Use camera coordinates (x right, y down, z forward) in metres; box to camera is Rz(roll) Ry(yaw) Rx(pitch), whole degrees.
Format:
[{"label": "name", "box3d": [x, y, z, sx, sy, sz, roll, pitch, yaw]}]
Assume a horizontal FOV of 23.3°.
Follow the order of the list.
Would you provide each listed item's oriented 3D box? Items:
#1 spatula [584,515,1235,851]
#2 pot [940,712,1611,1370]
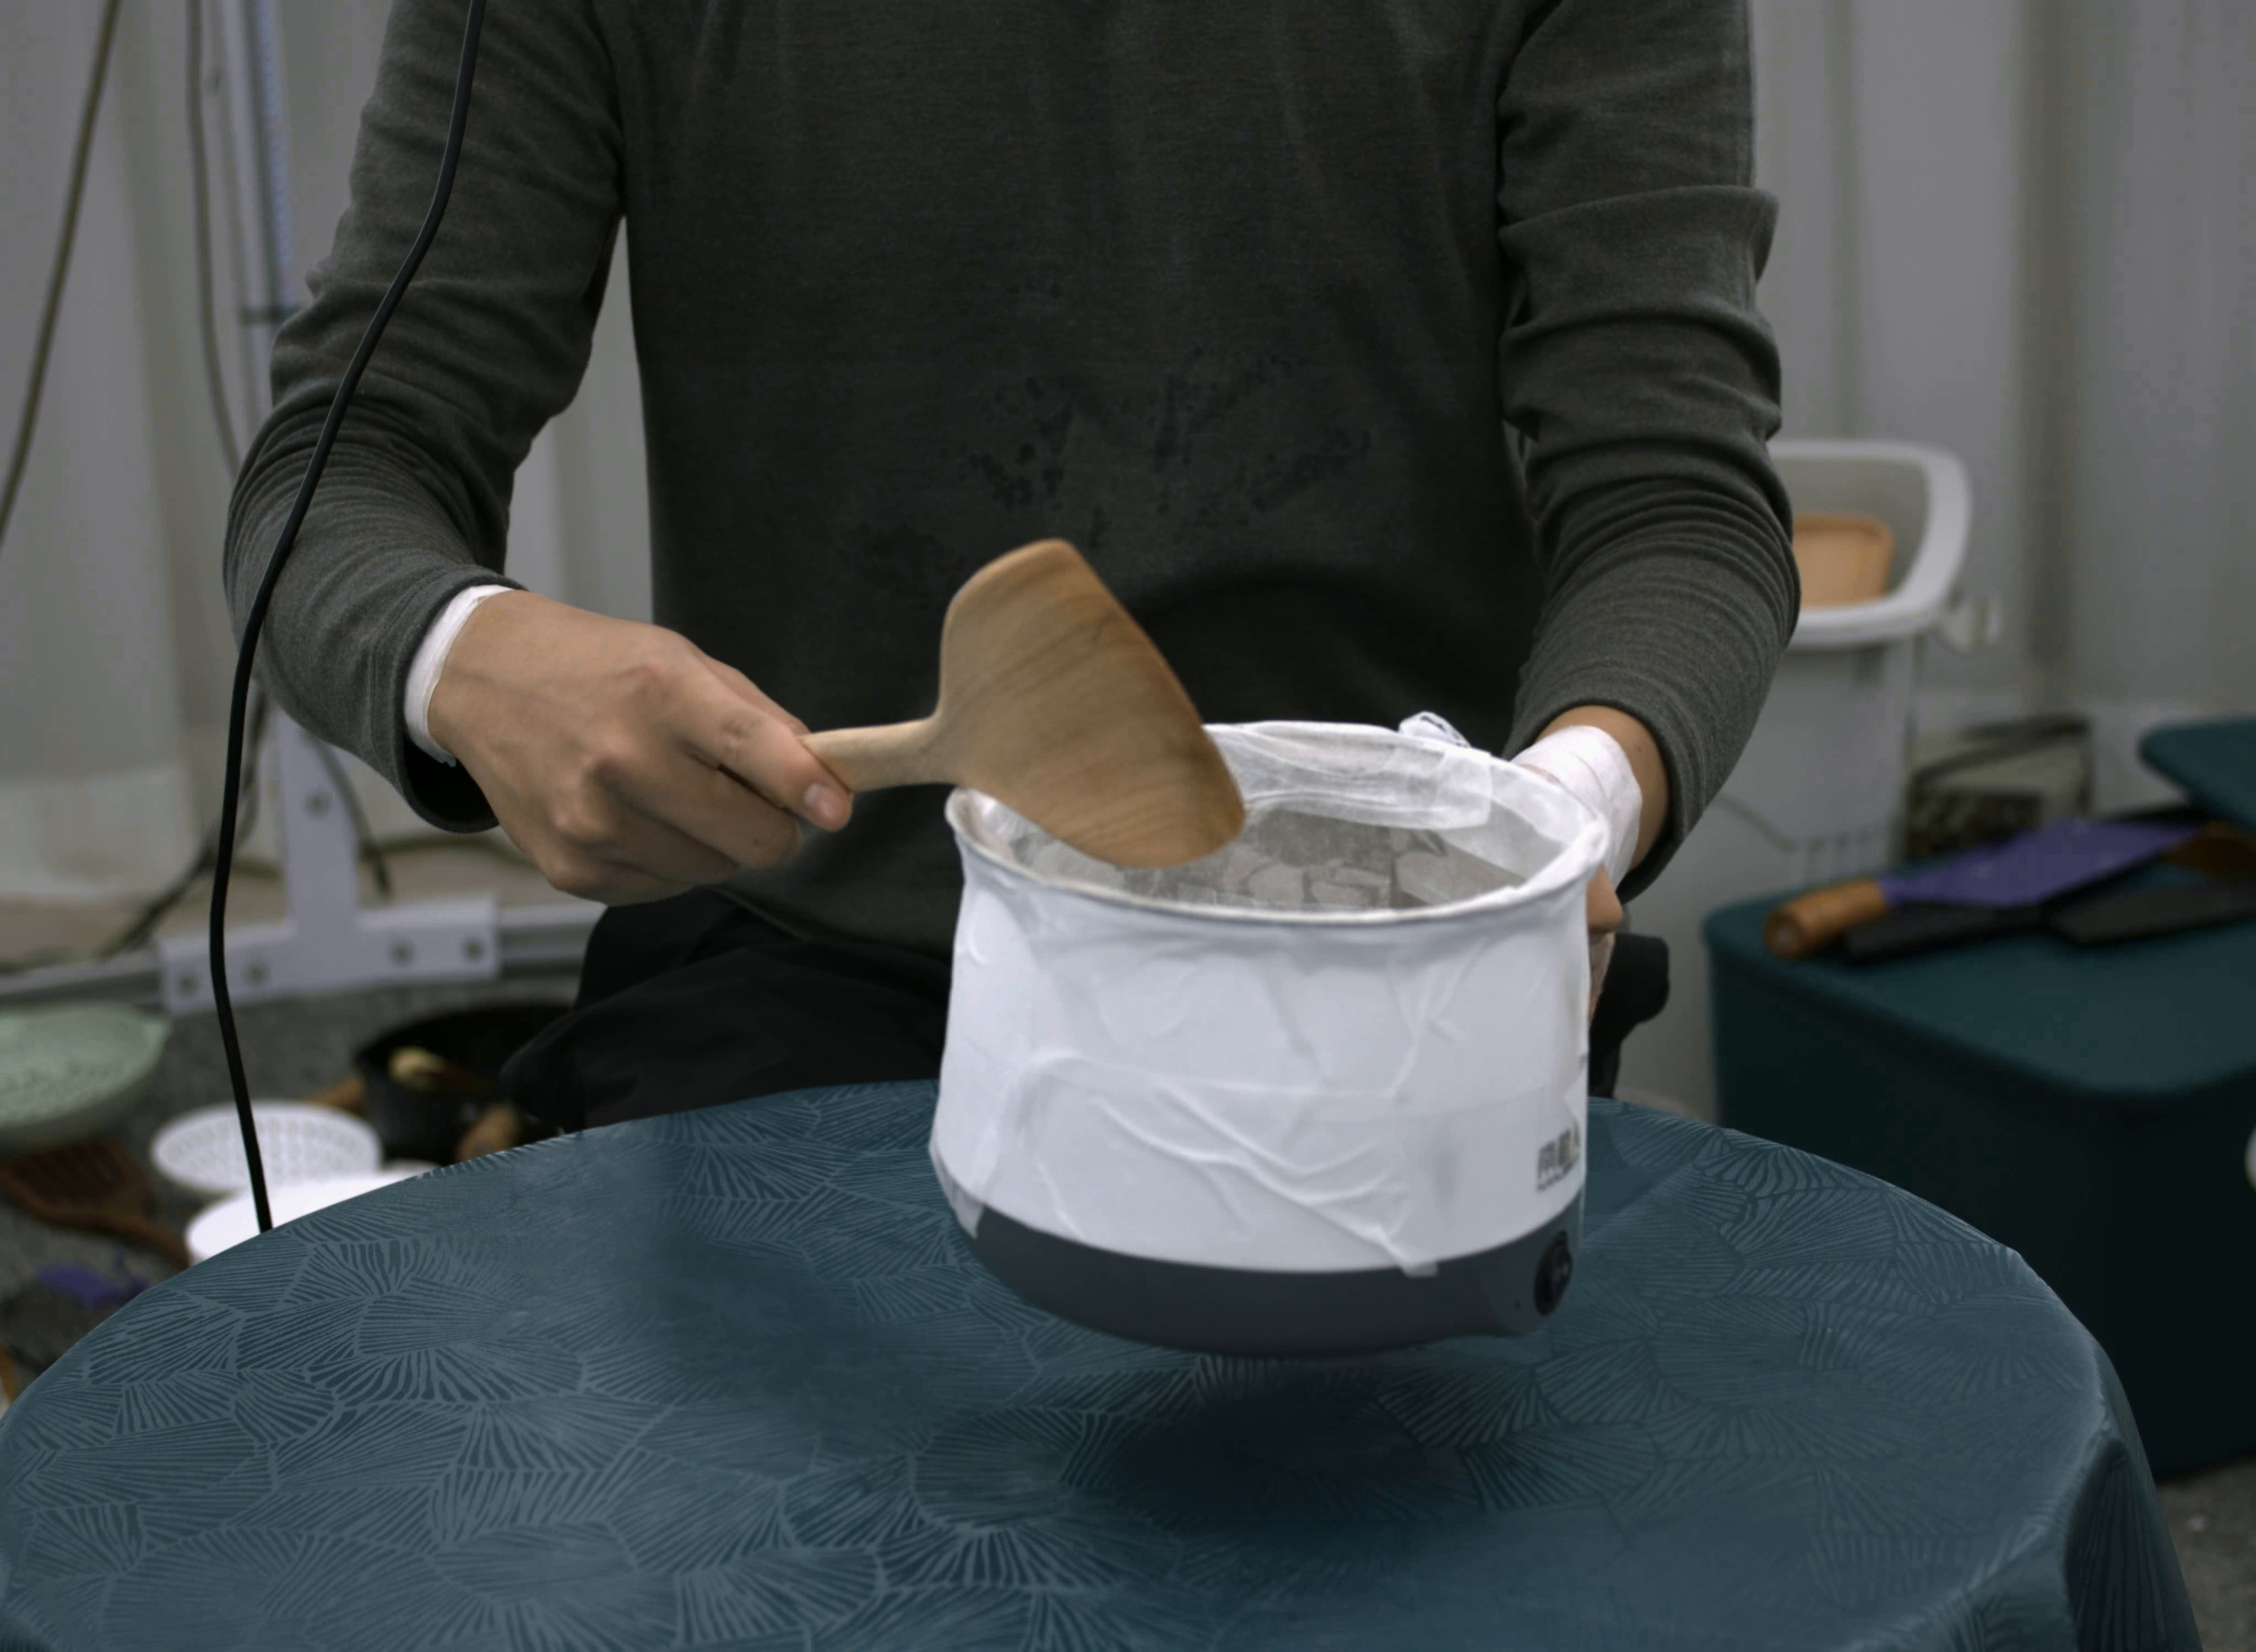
[{"label": "spatula", "box3d": [-0.080, -0.025, 1.540, 0.018, 0.095, 0.391, -36, 12, -23]}, {"label": "pot", "box3d": [0.050, 0.050, 1.501, 0.179, 0.136, 0.234, 10, 18, 24]}]
